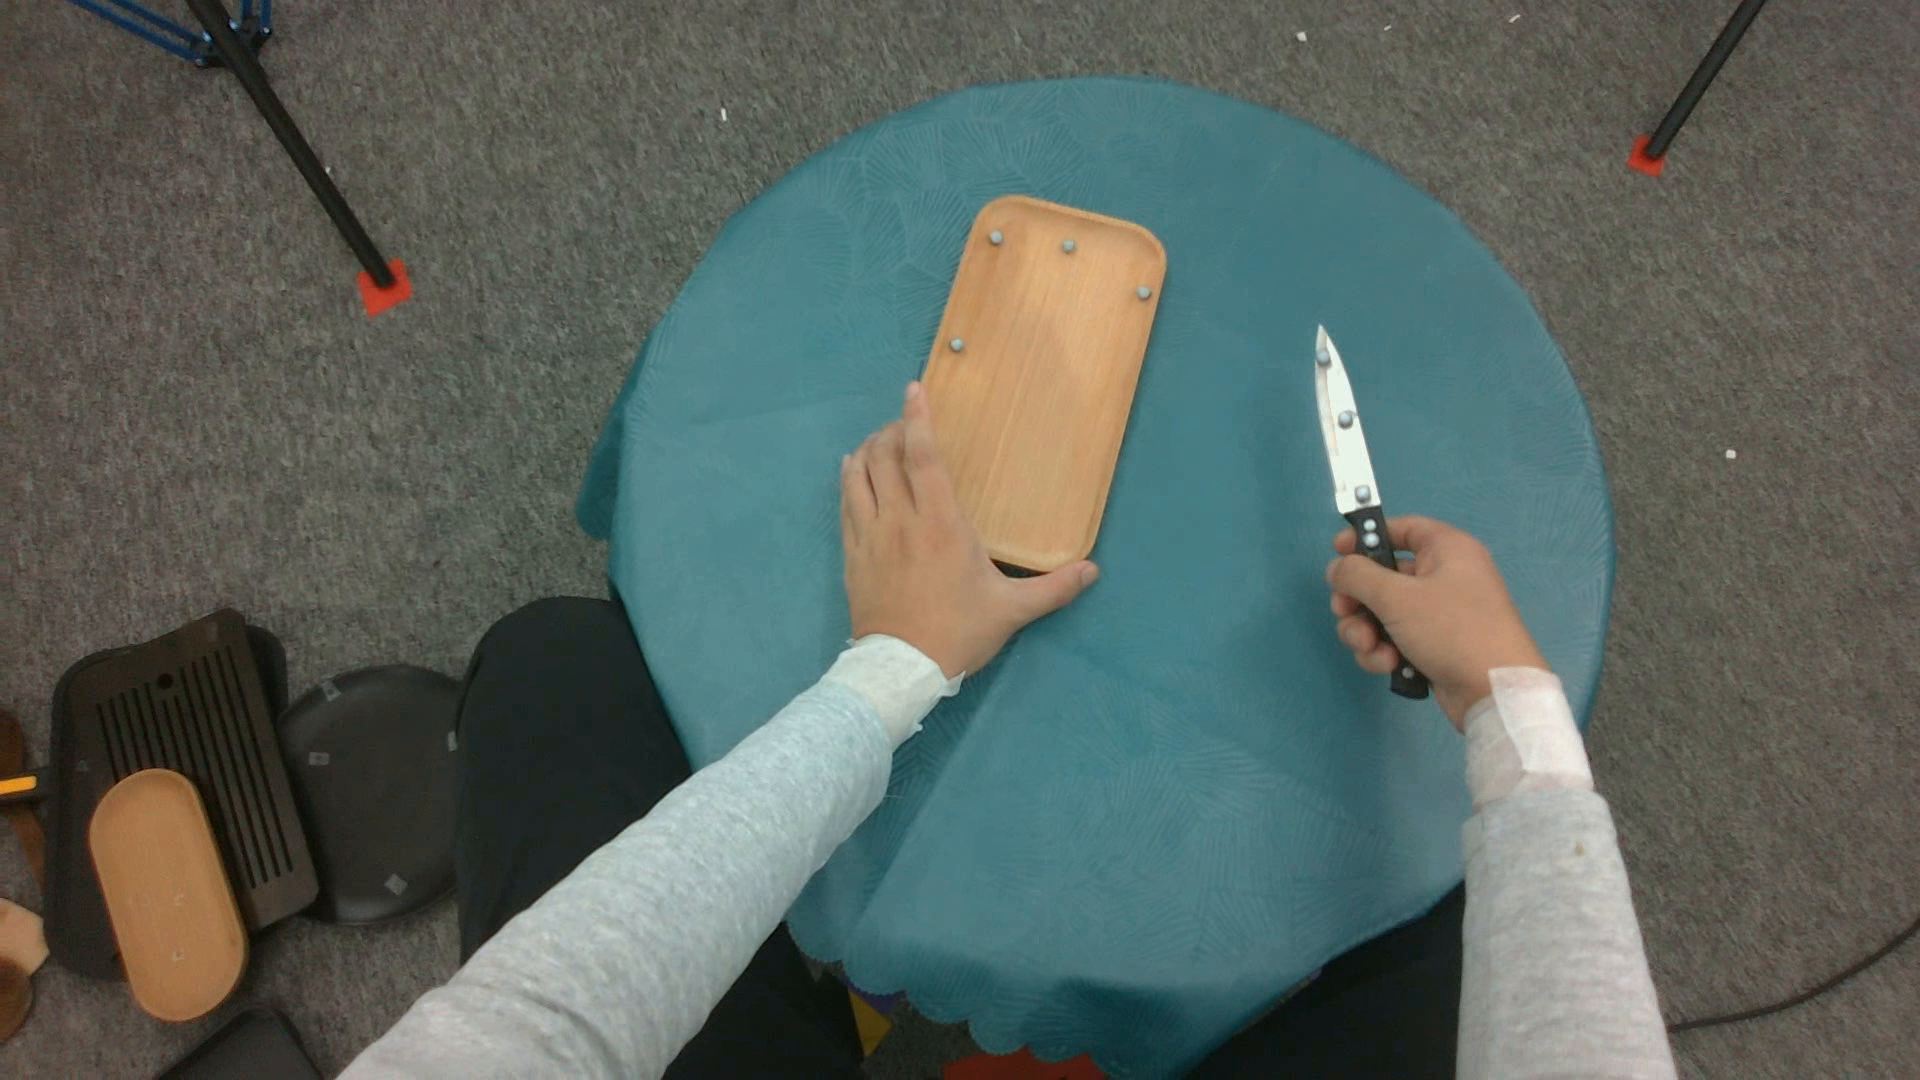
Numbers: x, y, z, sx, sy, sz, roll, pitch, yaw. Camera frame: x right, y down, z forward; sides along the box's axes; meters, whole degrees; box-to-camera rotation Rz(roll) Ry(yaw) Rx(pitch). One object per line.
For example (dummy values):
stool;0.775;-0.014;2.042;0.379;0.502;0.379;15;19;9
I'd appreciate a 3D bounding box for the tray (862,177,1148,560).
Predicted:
tray;0.031;-0.109;0.843;0.130;0.023;0.251;15;69;6

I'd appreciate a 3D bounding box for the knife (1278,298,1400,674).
knife;0.208;-0.039;0.766;0.024;0.016;0.239;-13;63;12
